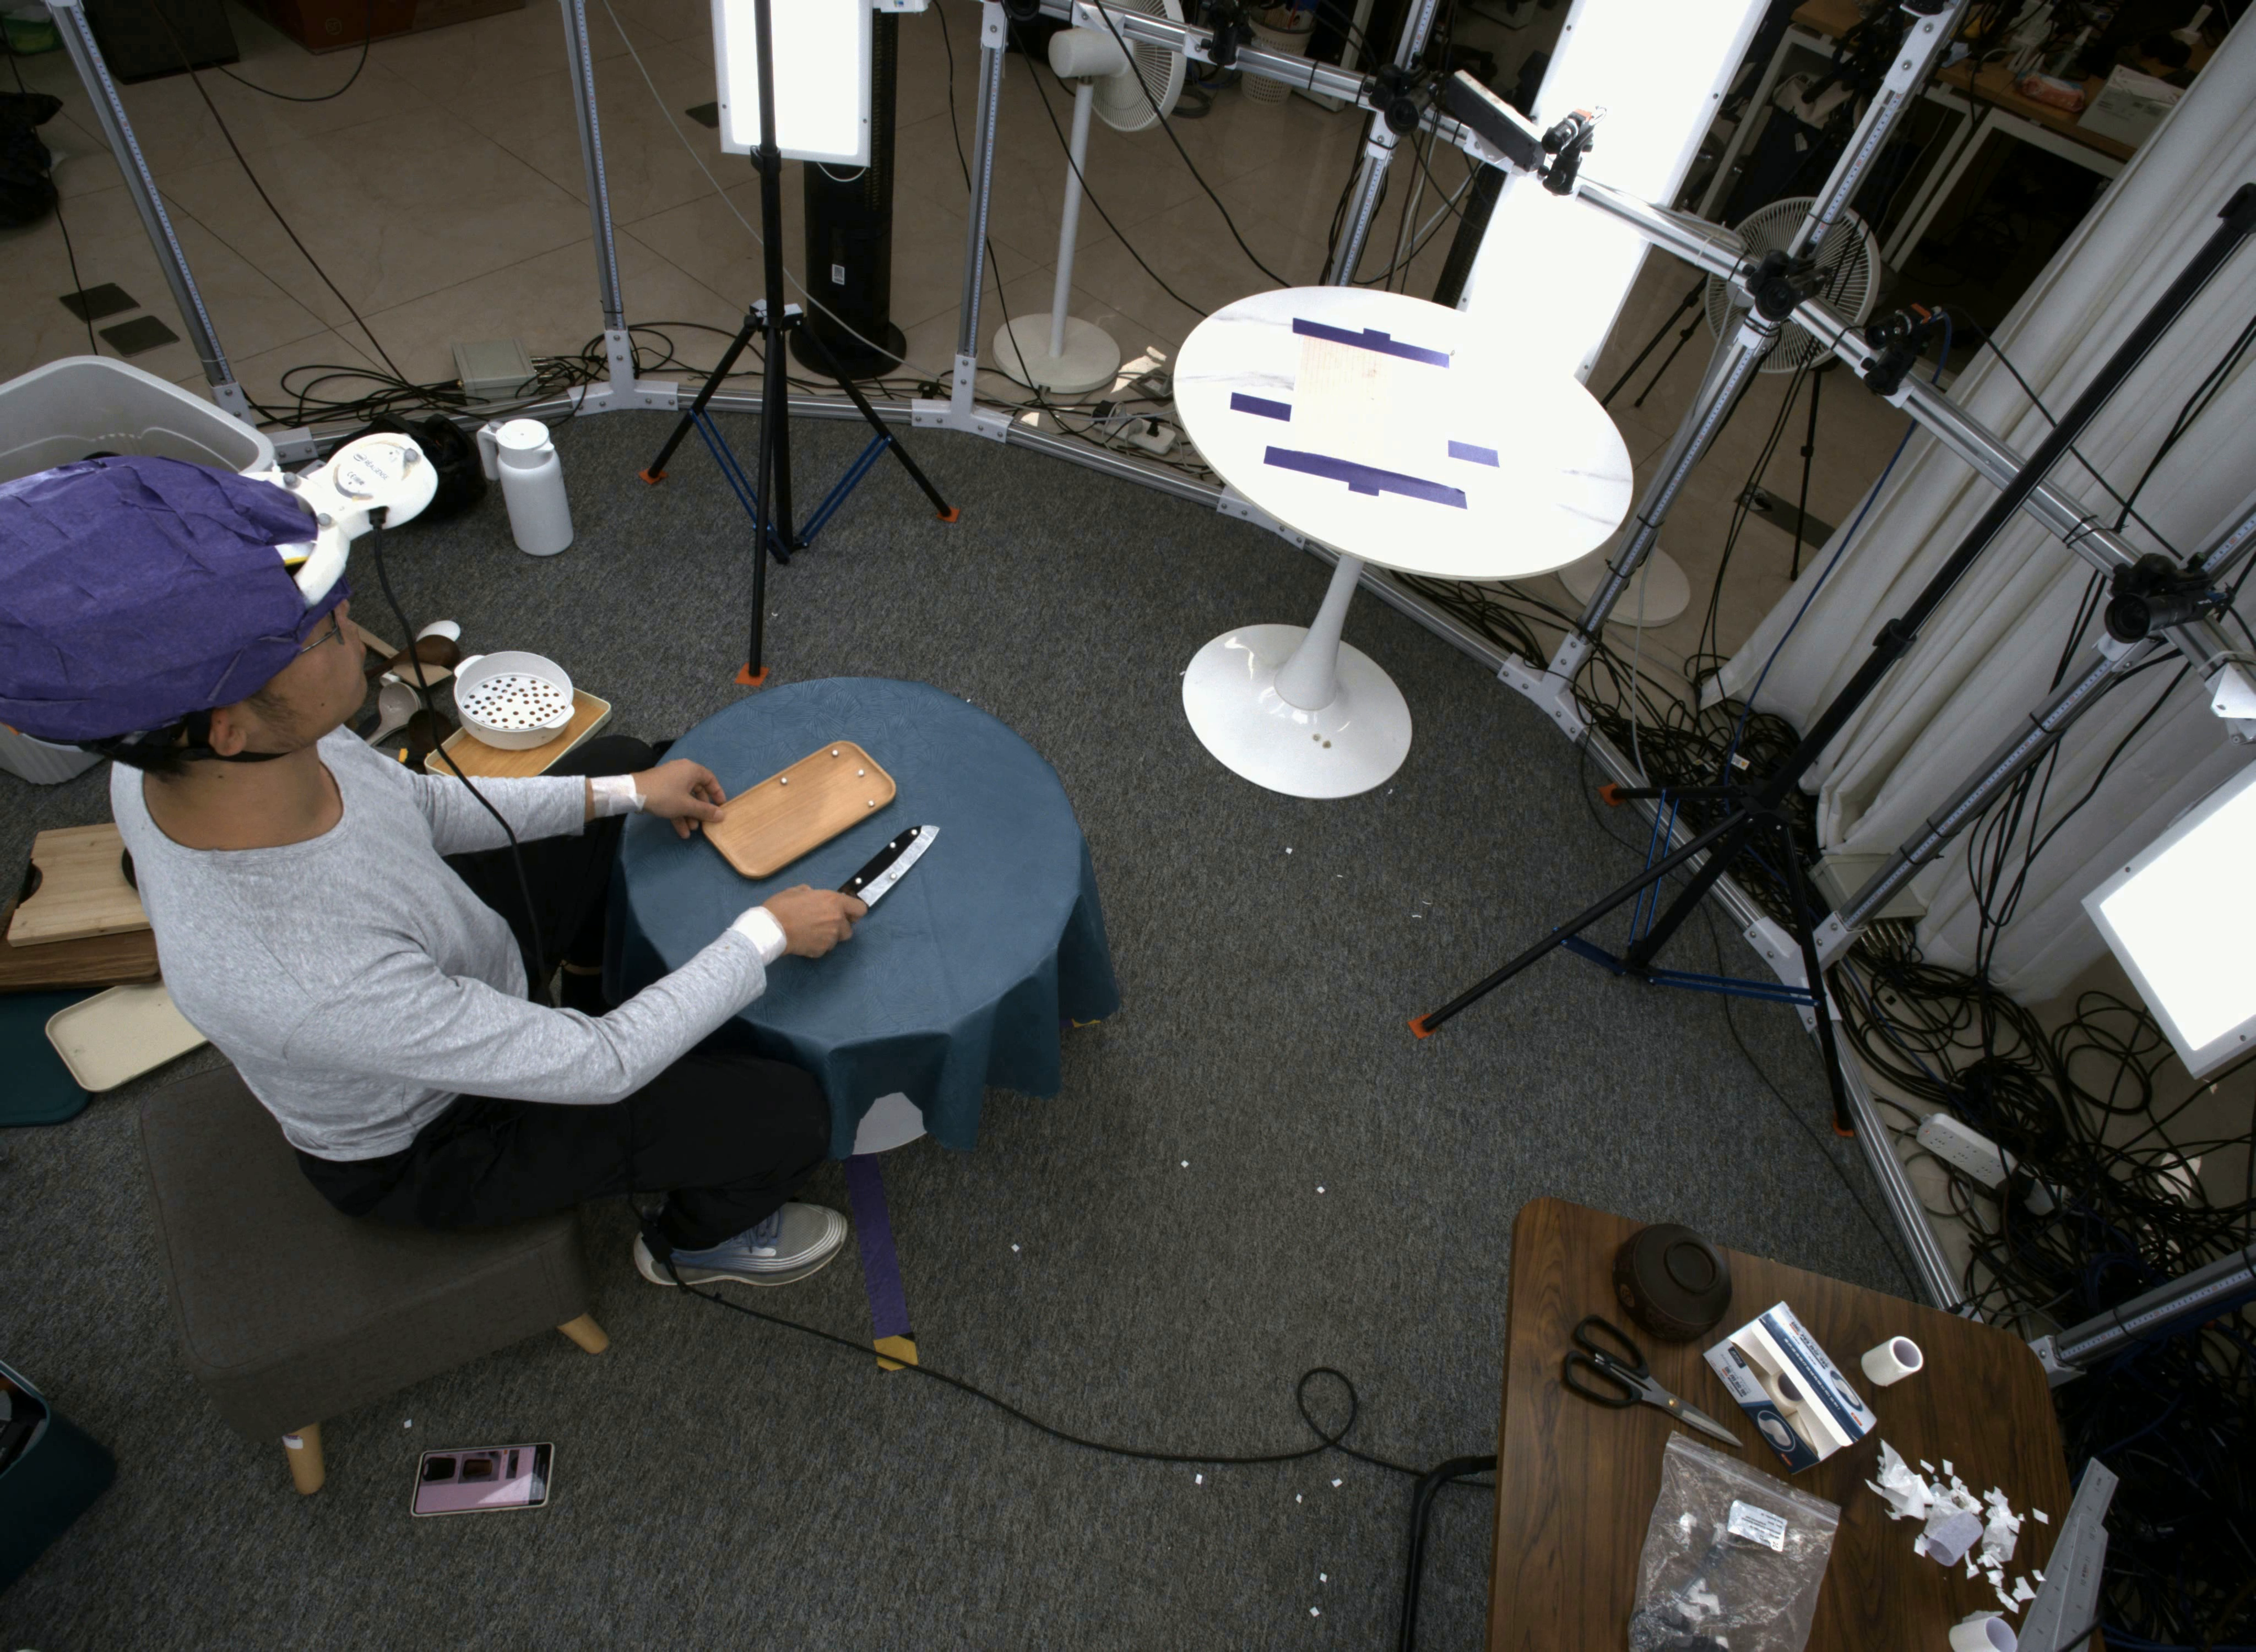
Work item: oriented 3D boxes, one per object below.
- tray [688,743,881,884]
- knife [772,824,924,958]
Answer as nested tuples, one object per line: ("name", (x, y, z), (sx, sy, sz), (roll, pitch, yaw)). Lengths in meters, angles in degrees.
("tray", (-0.456, -0.020, 1.732), (0.127, 0.023, 0.251), (42, 56, 19))
("knife", (-0.355, 0.076, 1.675), (0.050, 0.020, 0.288), (41, 48, 3))
